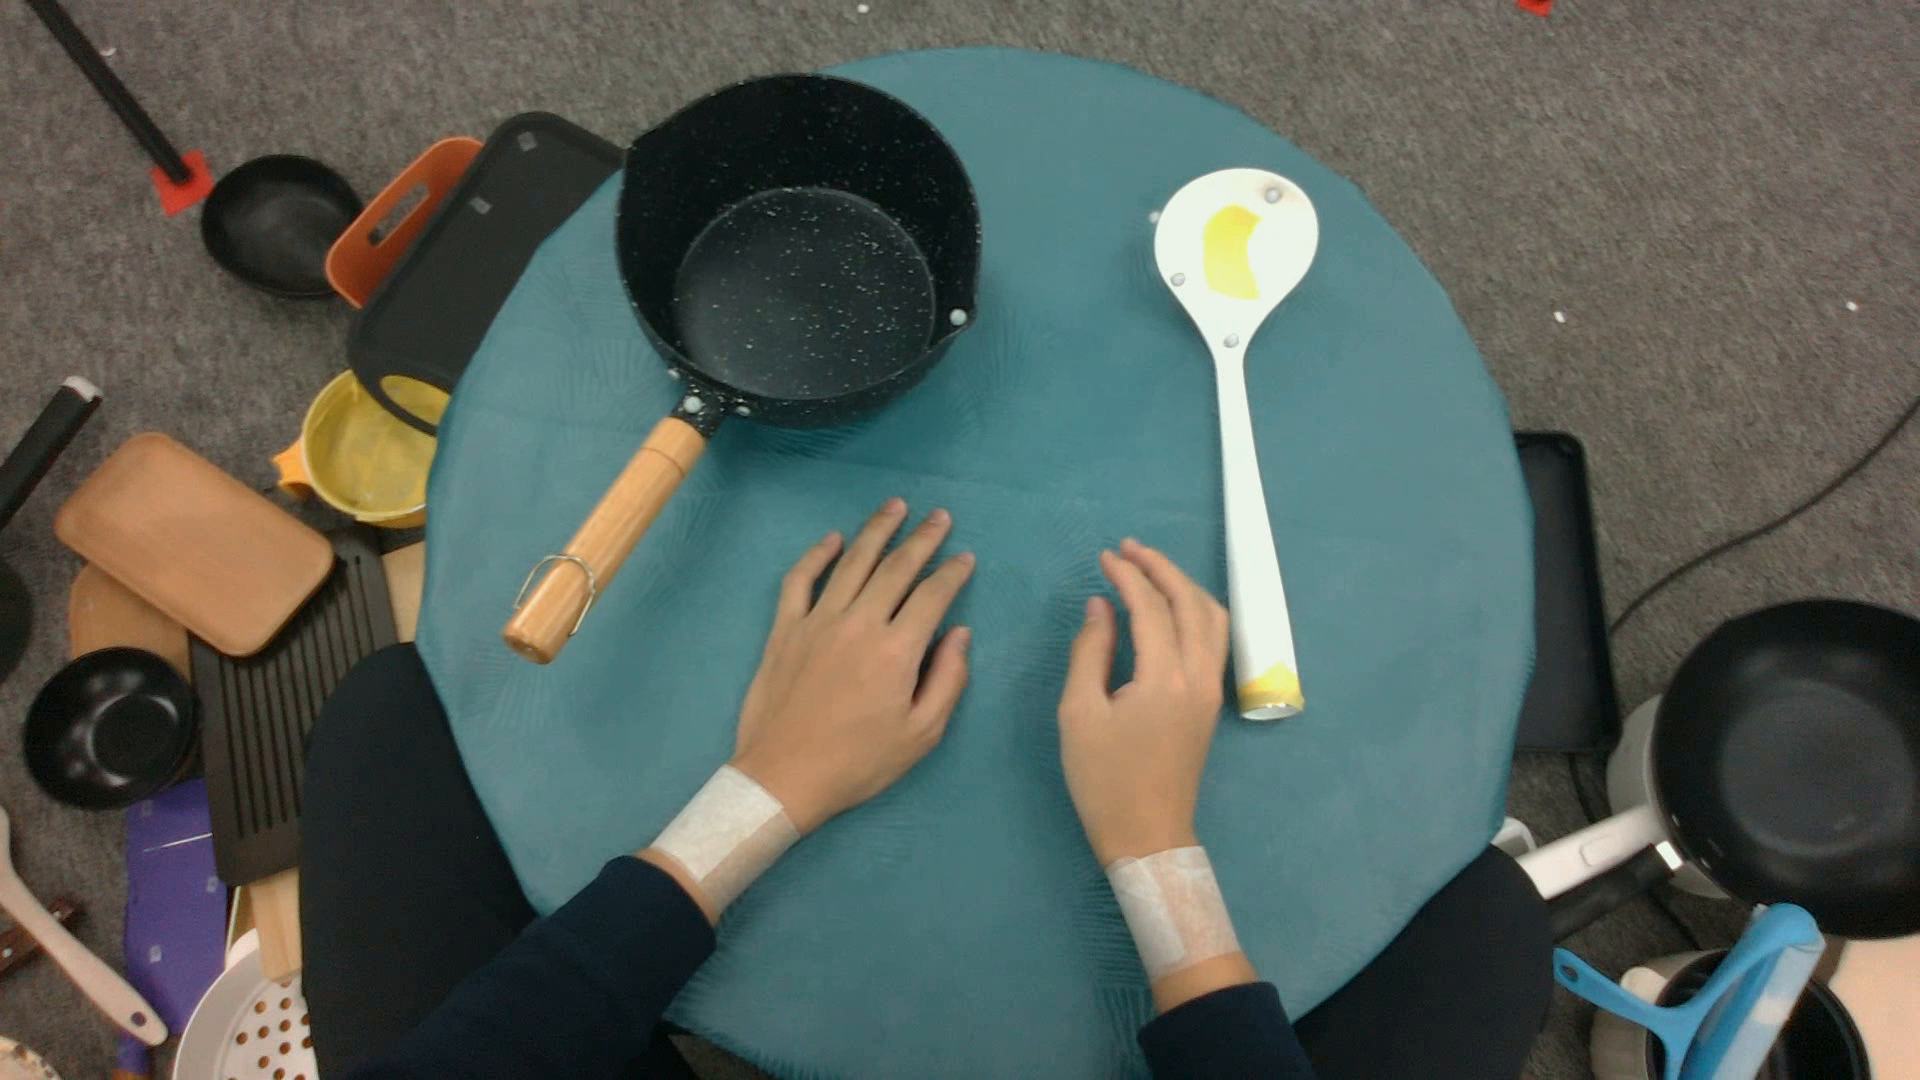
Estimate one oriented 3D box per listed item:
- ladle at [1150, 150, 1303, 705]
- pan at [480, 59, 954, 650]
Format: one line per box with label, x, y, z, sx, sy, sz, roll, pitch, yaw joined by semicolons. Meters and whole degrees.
ladle;0.151;-0.062;0.740;0.090;0.069;0.293;1;74;-12
pan;-0.130;-0.086;0.698;0.207;0.108;0.344;25;71;2
